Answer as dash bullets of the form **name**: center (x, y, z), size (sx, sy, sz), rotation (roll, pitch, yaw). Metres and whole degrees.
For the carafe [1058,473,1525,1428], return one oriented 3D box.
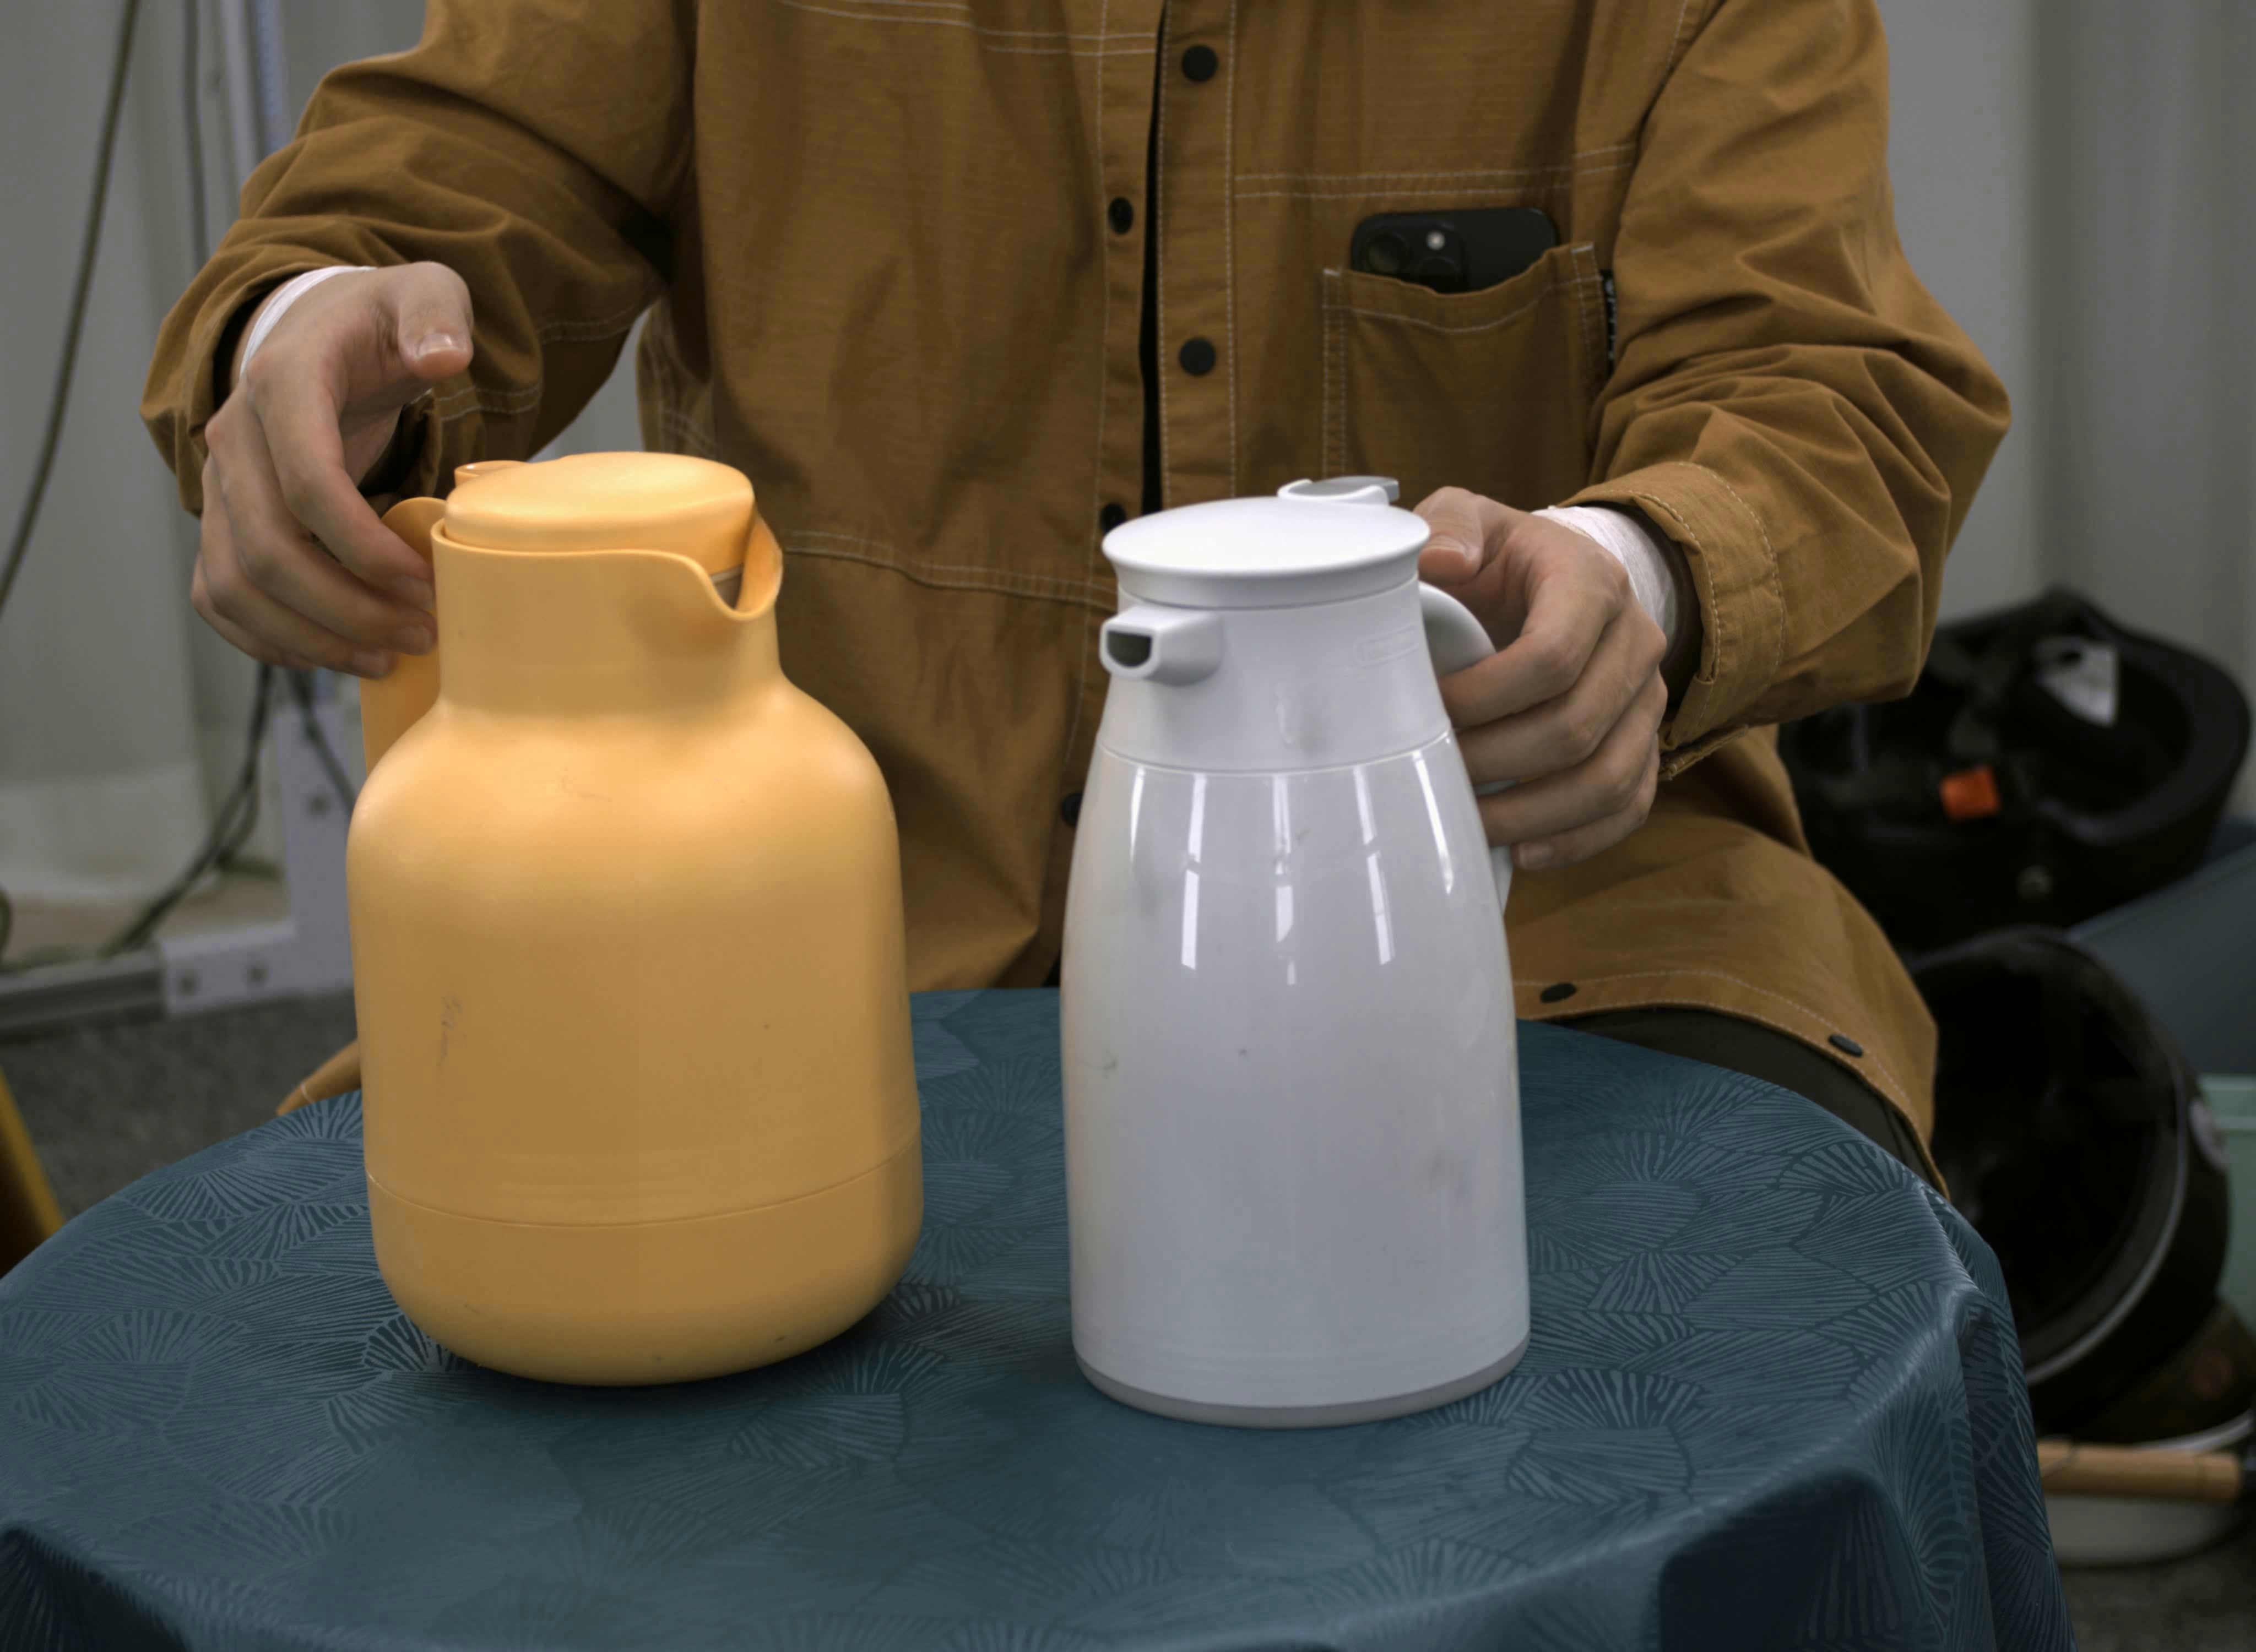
- **carafe**: center (0.055, 0.026, 1.558), size (0.133, 0.248, 0.167), rotation (8, 17, 38)

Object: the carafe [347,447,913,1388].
- **carafe**: center (-0.156, 0.018, 1.605), size (0.163, 0.259, 0.204), rotation (-10, 17, -35)
